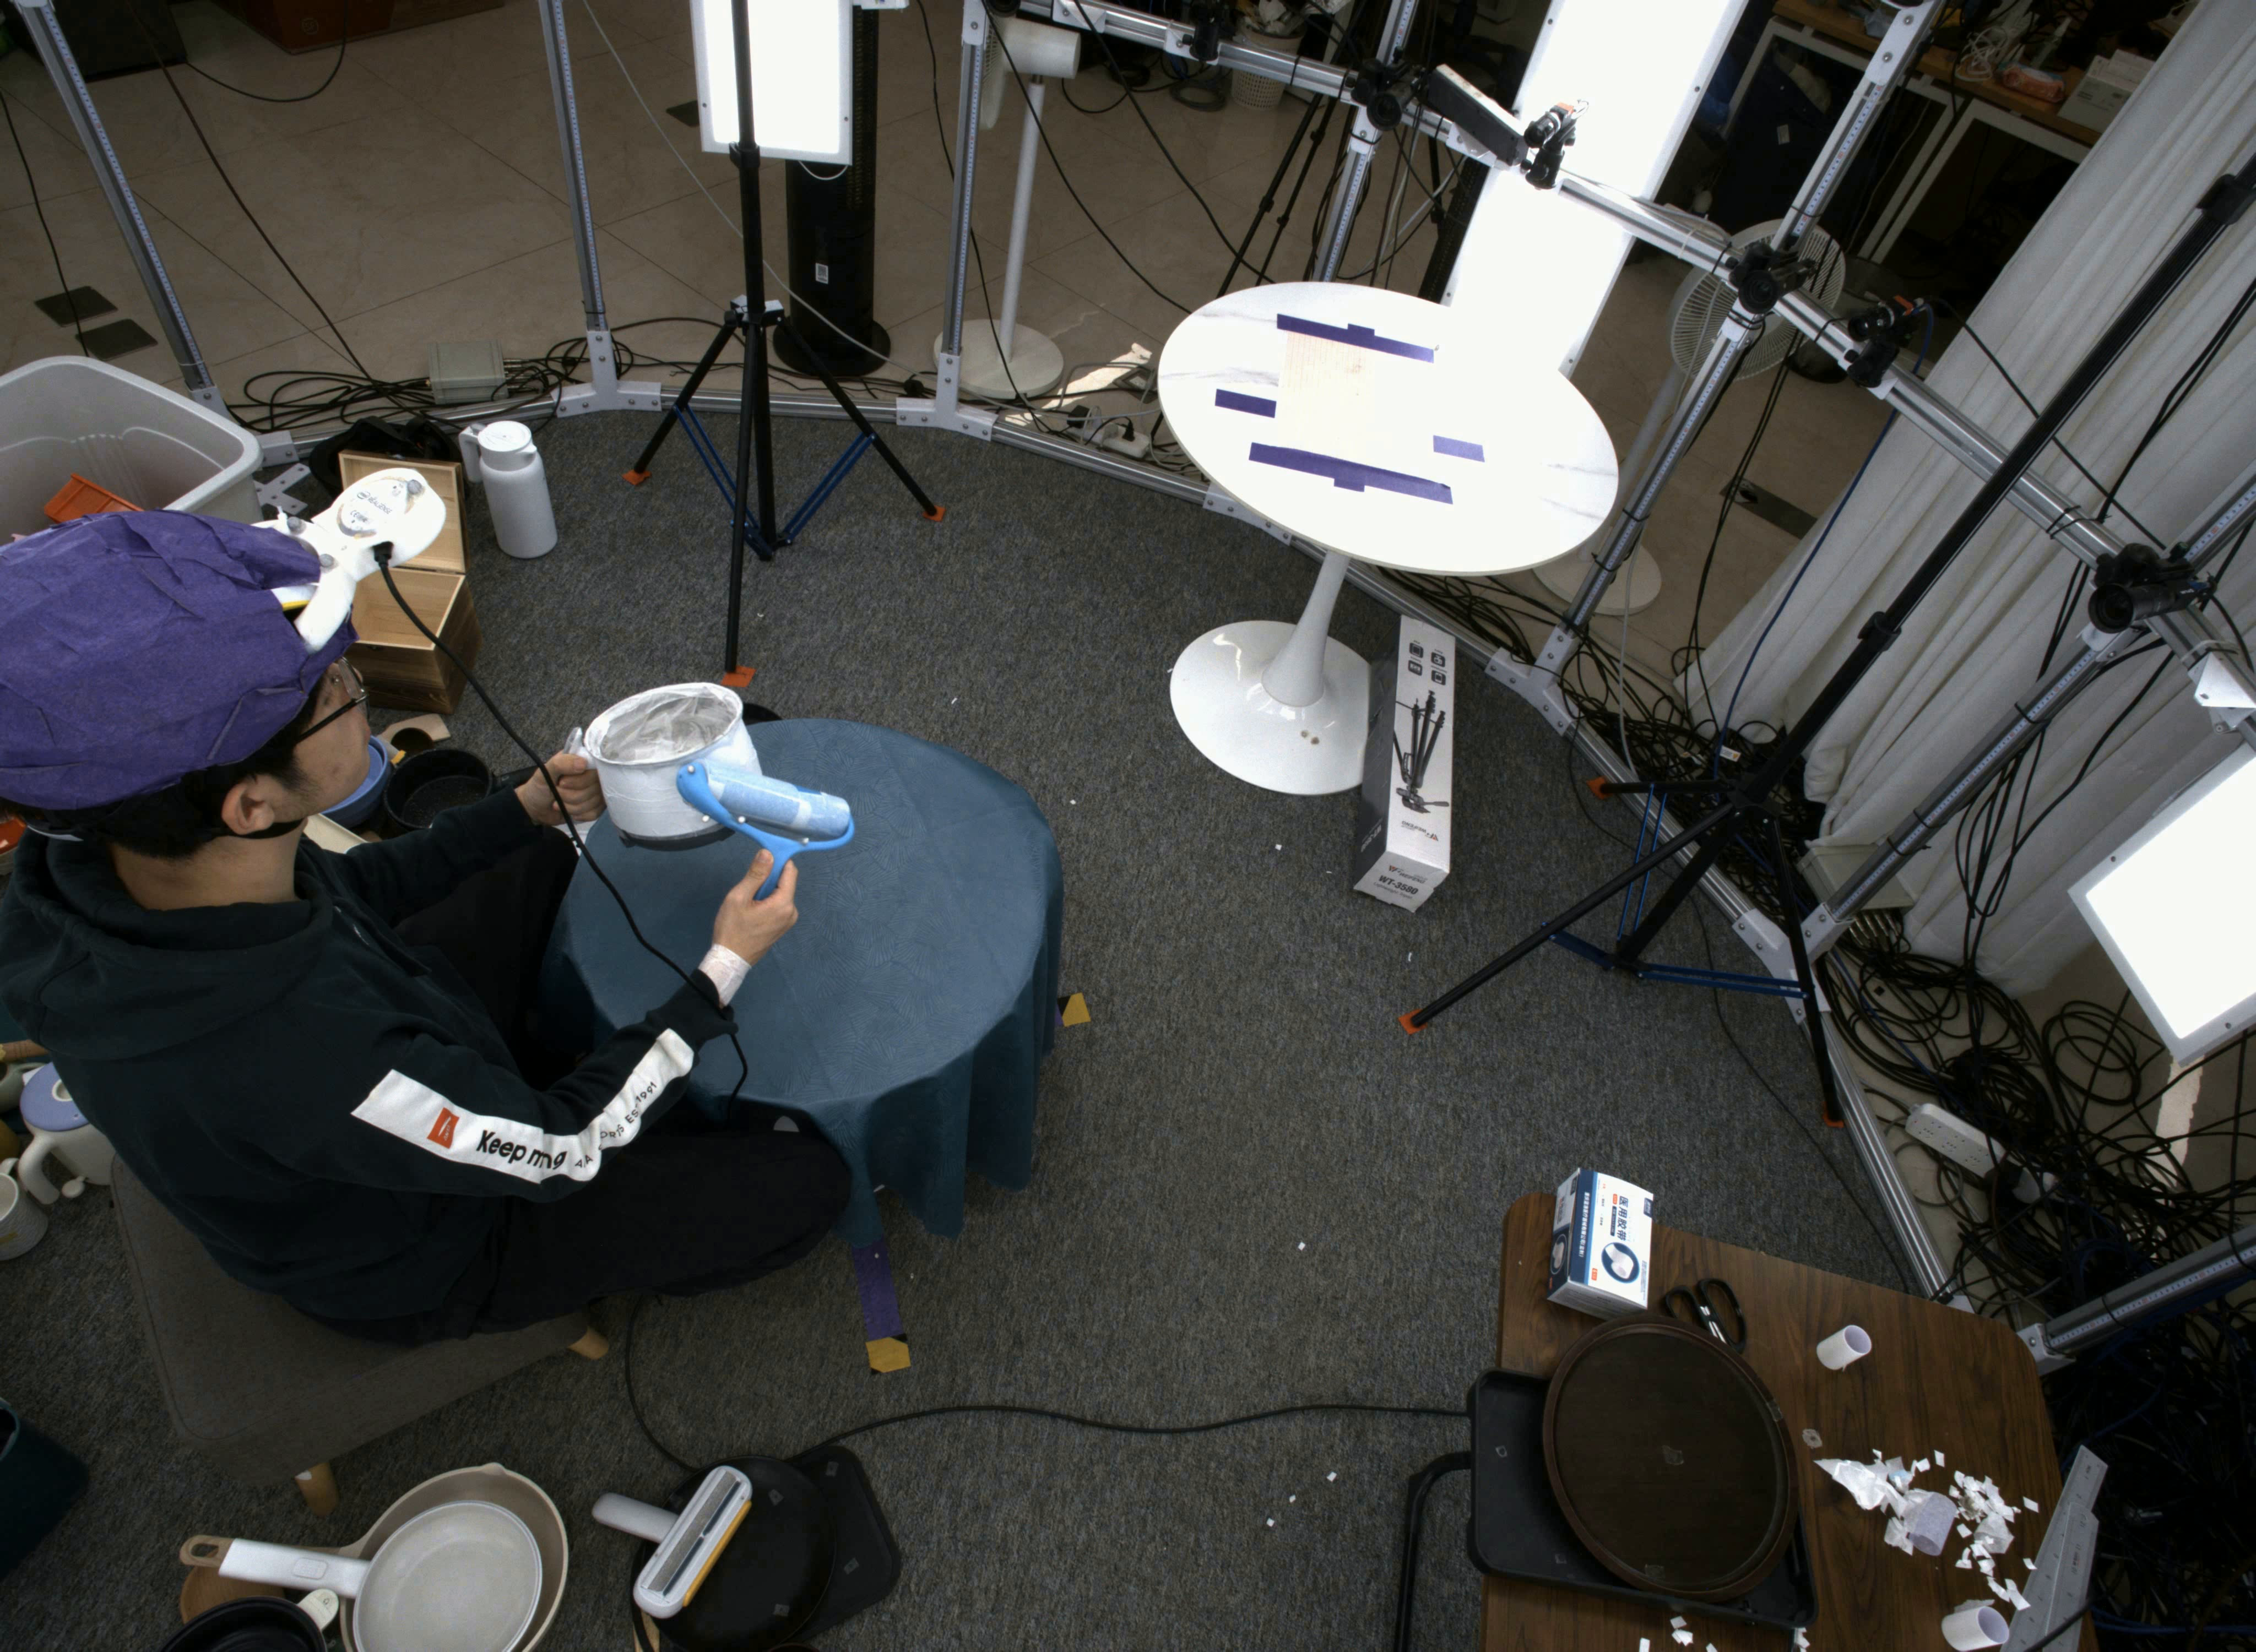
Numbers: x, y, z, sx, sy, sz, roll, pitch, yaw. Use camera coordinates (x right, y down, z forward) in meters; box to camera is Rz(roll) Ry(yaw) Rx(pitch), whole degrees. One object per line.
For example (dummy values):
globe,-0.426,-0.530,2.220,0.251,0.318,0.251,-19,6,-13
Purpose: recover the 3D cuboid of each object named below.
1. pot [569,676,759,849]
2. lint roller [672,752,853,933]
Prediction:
pot,-0.543,-0.068,1.468,0.232,0.141,0.174,-6,36,-3
lint roller,-0.403,0.024,1.431,0.235,0.066,0.181,13,73,-52
